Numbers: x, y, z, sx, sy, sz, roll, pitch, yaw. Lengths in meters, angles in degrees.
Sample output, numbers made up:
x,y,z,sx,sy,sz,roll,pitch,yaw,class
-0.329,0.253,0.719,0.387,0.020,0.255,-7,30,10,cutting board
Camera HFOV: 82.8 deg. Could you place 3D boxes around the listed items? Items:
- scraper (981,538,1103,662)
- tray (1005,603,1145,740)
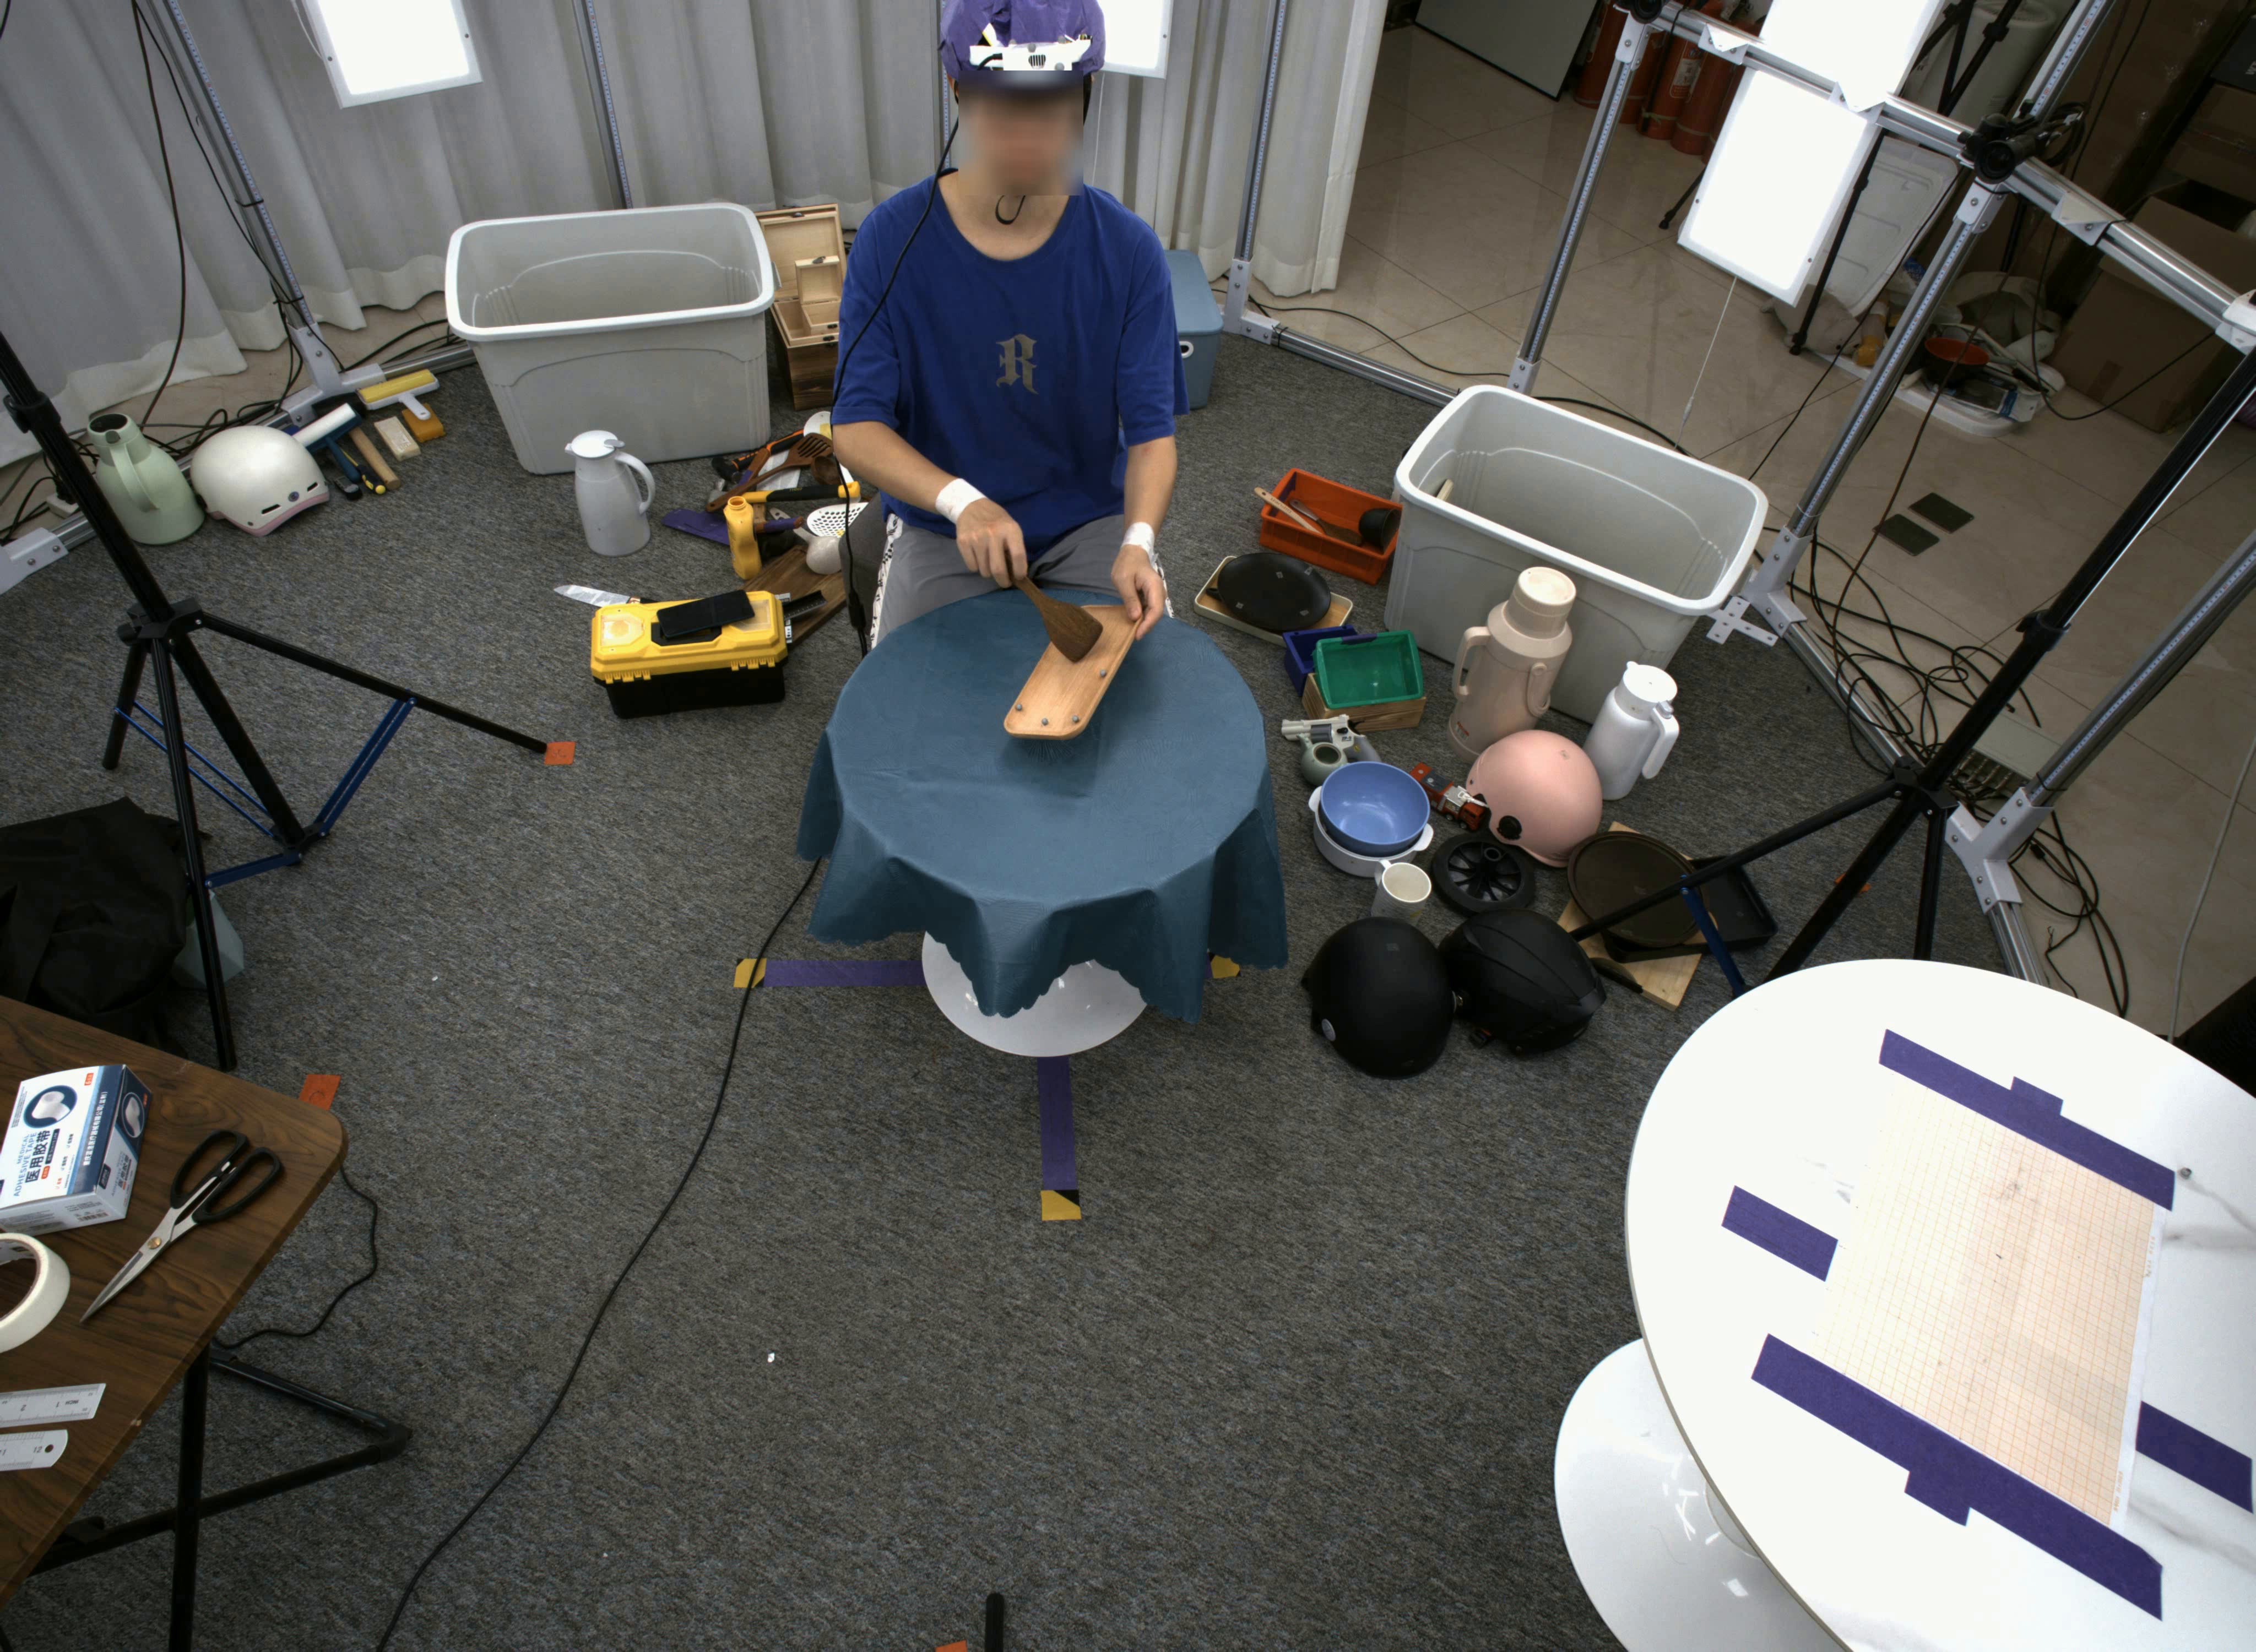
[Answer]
x,y,z,sx,sy,sz,roll,pitch,yaw,class
-0.124,-0.317,1.765,0.212,0.075,0.011,45,32,8,scraper
-0.070,-0.215,1.760,0.131,0.022,0.255,7,53,31,tray
